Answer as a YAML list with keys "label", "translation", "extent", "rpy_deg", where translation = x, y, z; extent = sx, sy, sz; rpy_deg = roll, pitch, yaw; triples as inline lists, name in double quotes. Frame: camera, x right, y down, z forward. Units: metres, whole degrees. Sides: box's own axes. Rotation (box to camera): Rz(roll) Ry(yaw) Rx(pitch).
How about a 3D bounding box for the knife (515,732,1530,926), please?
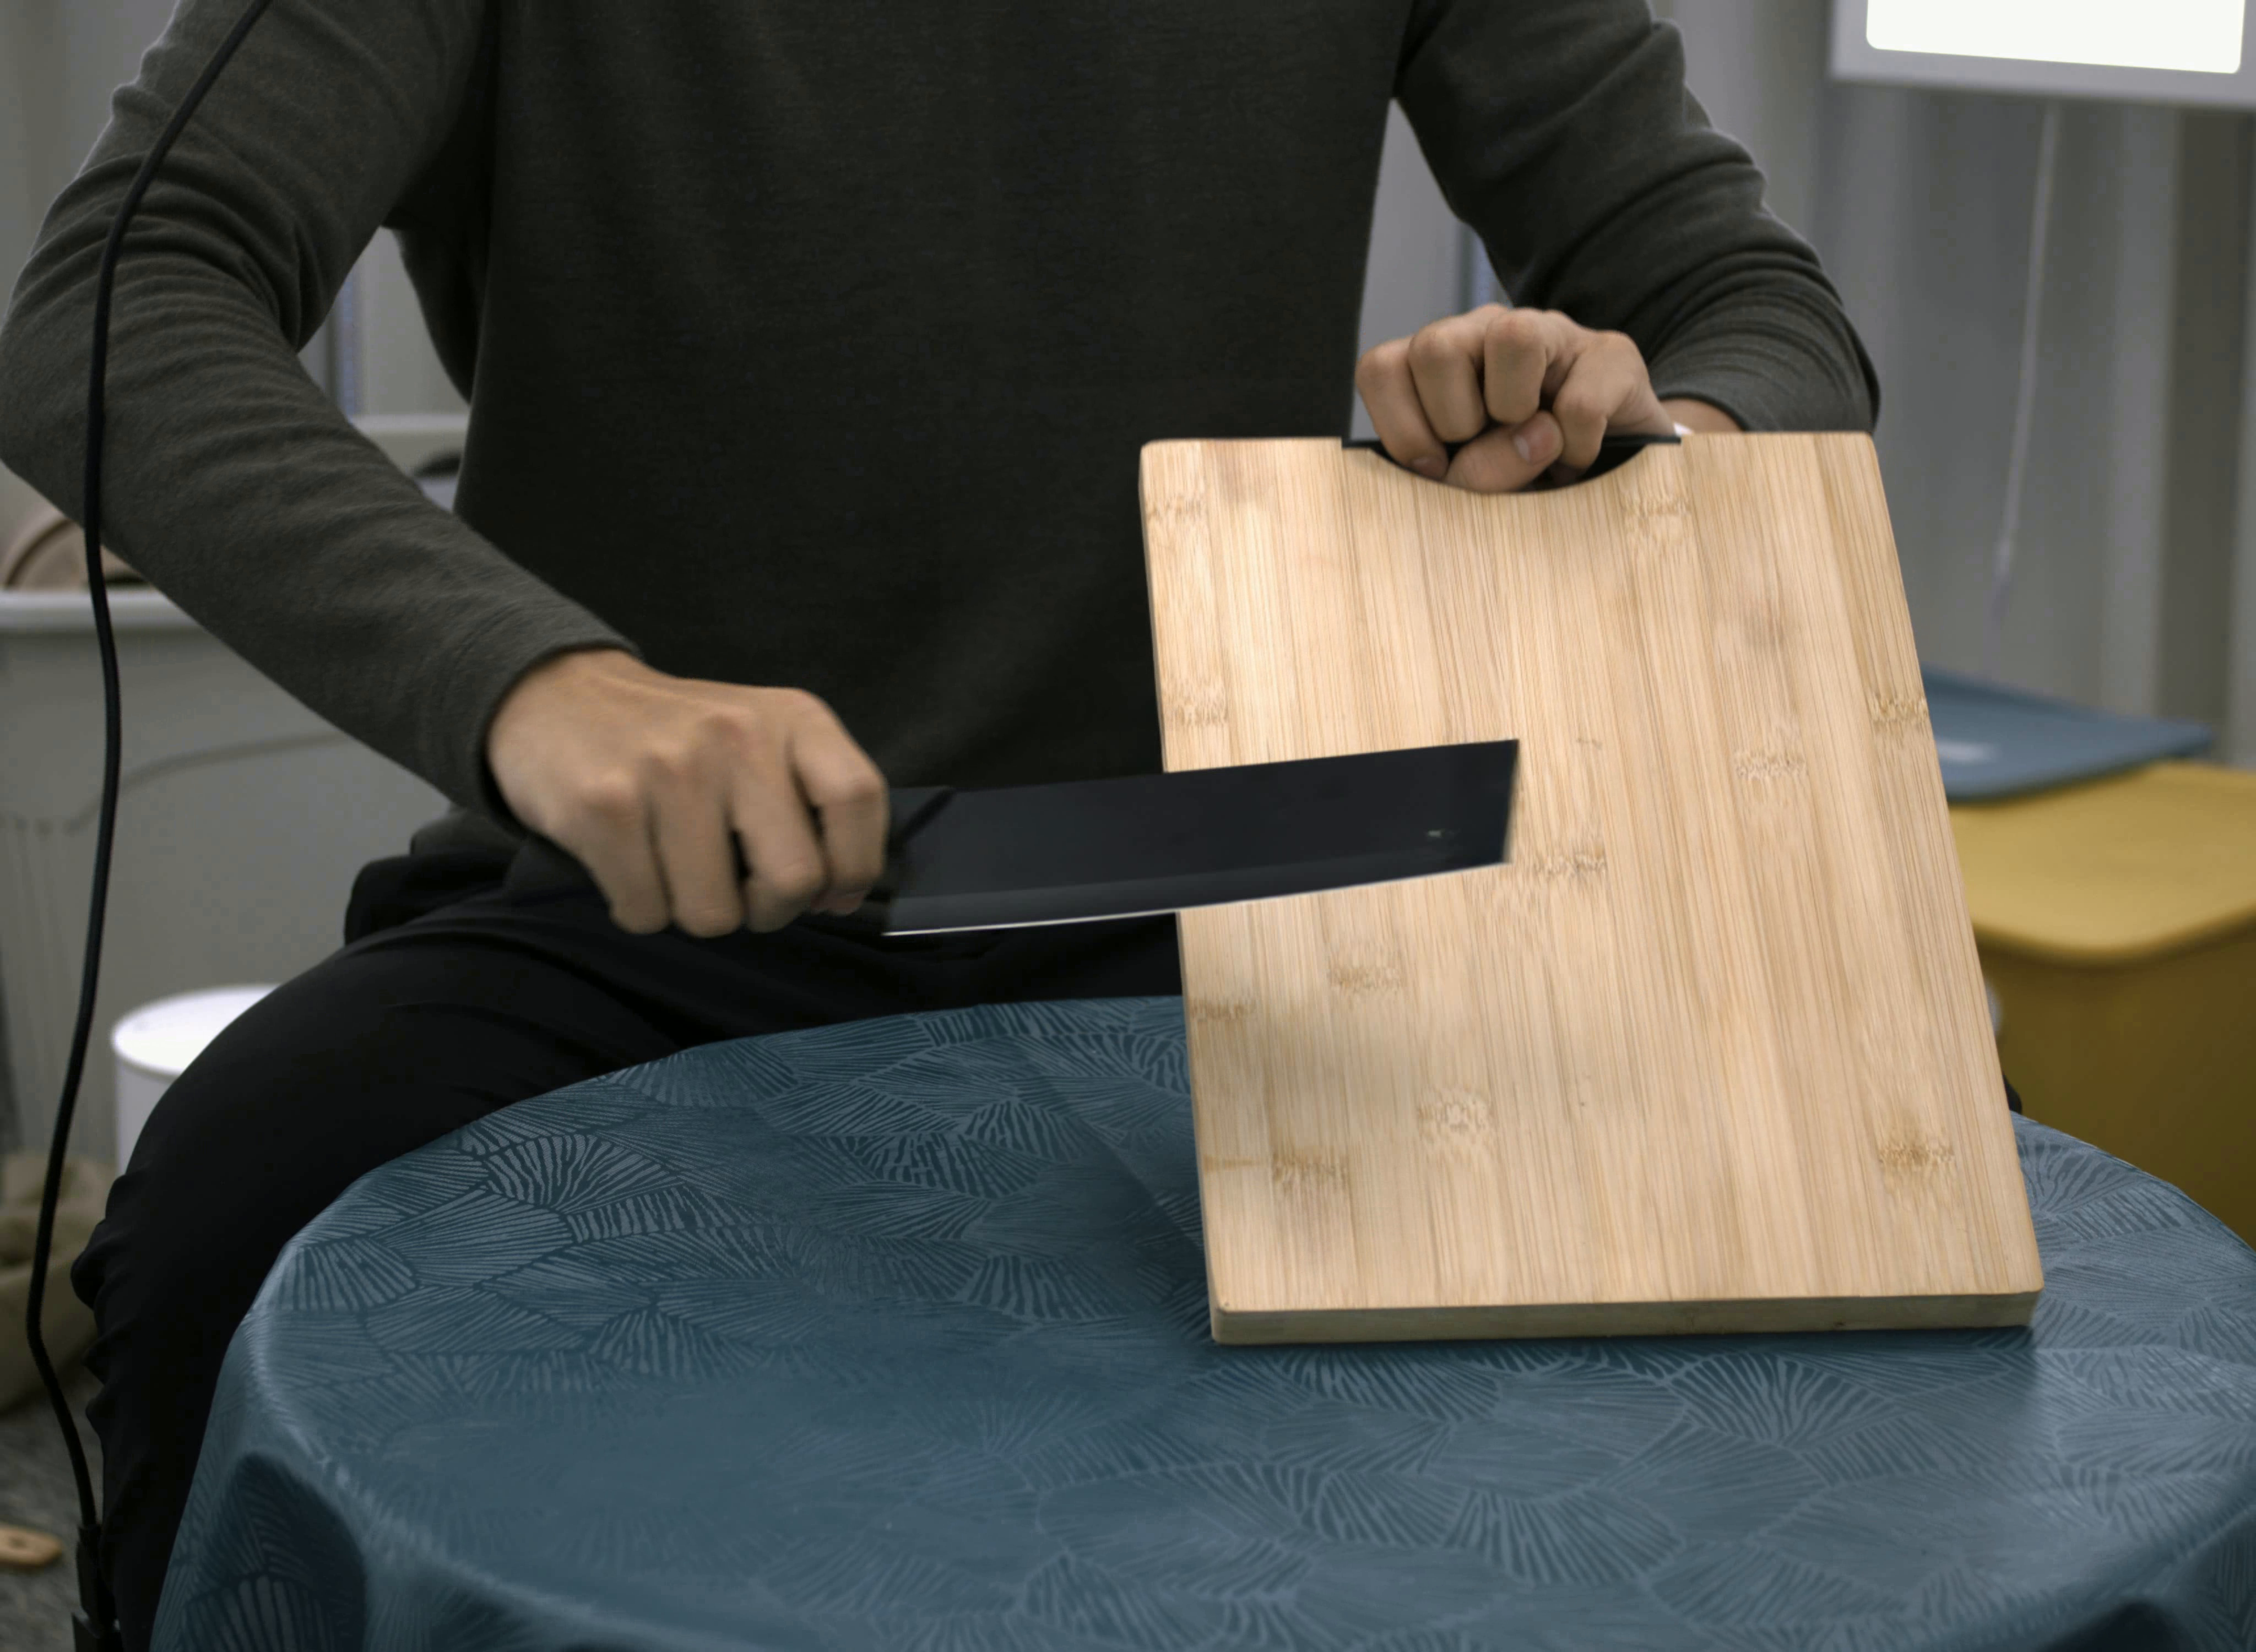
- label: "knife"
  translation: [-0.032, 0.004, 1.516]
  extent: [0.300, 0.021, 0.080]
  rpy_deg: [-3, 37, 14]

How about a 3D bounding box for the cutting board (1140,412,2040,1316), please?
- label: "cutting board"
  translation: [0.133, 0.005, 1.611]
  extent: [0.250, 0.024, 0.345]
  rpy_deg: [-1, 52, -6]
